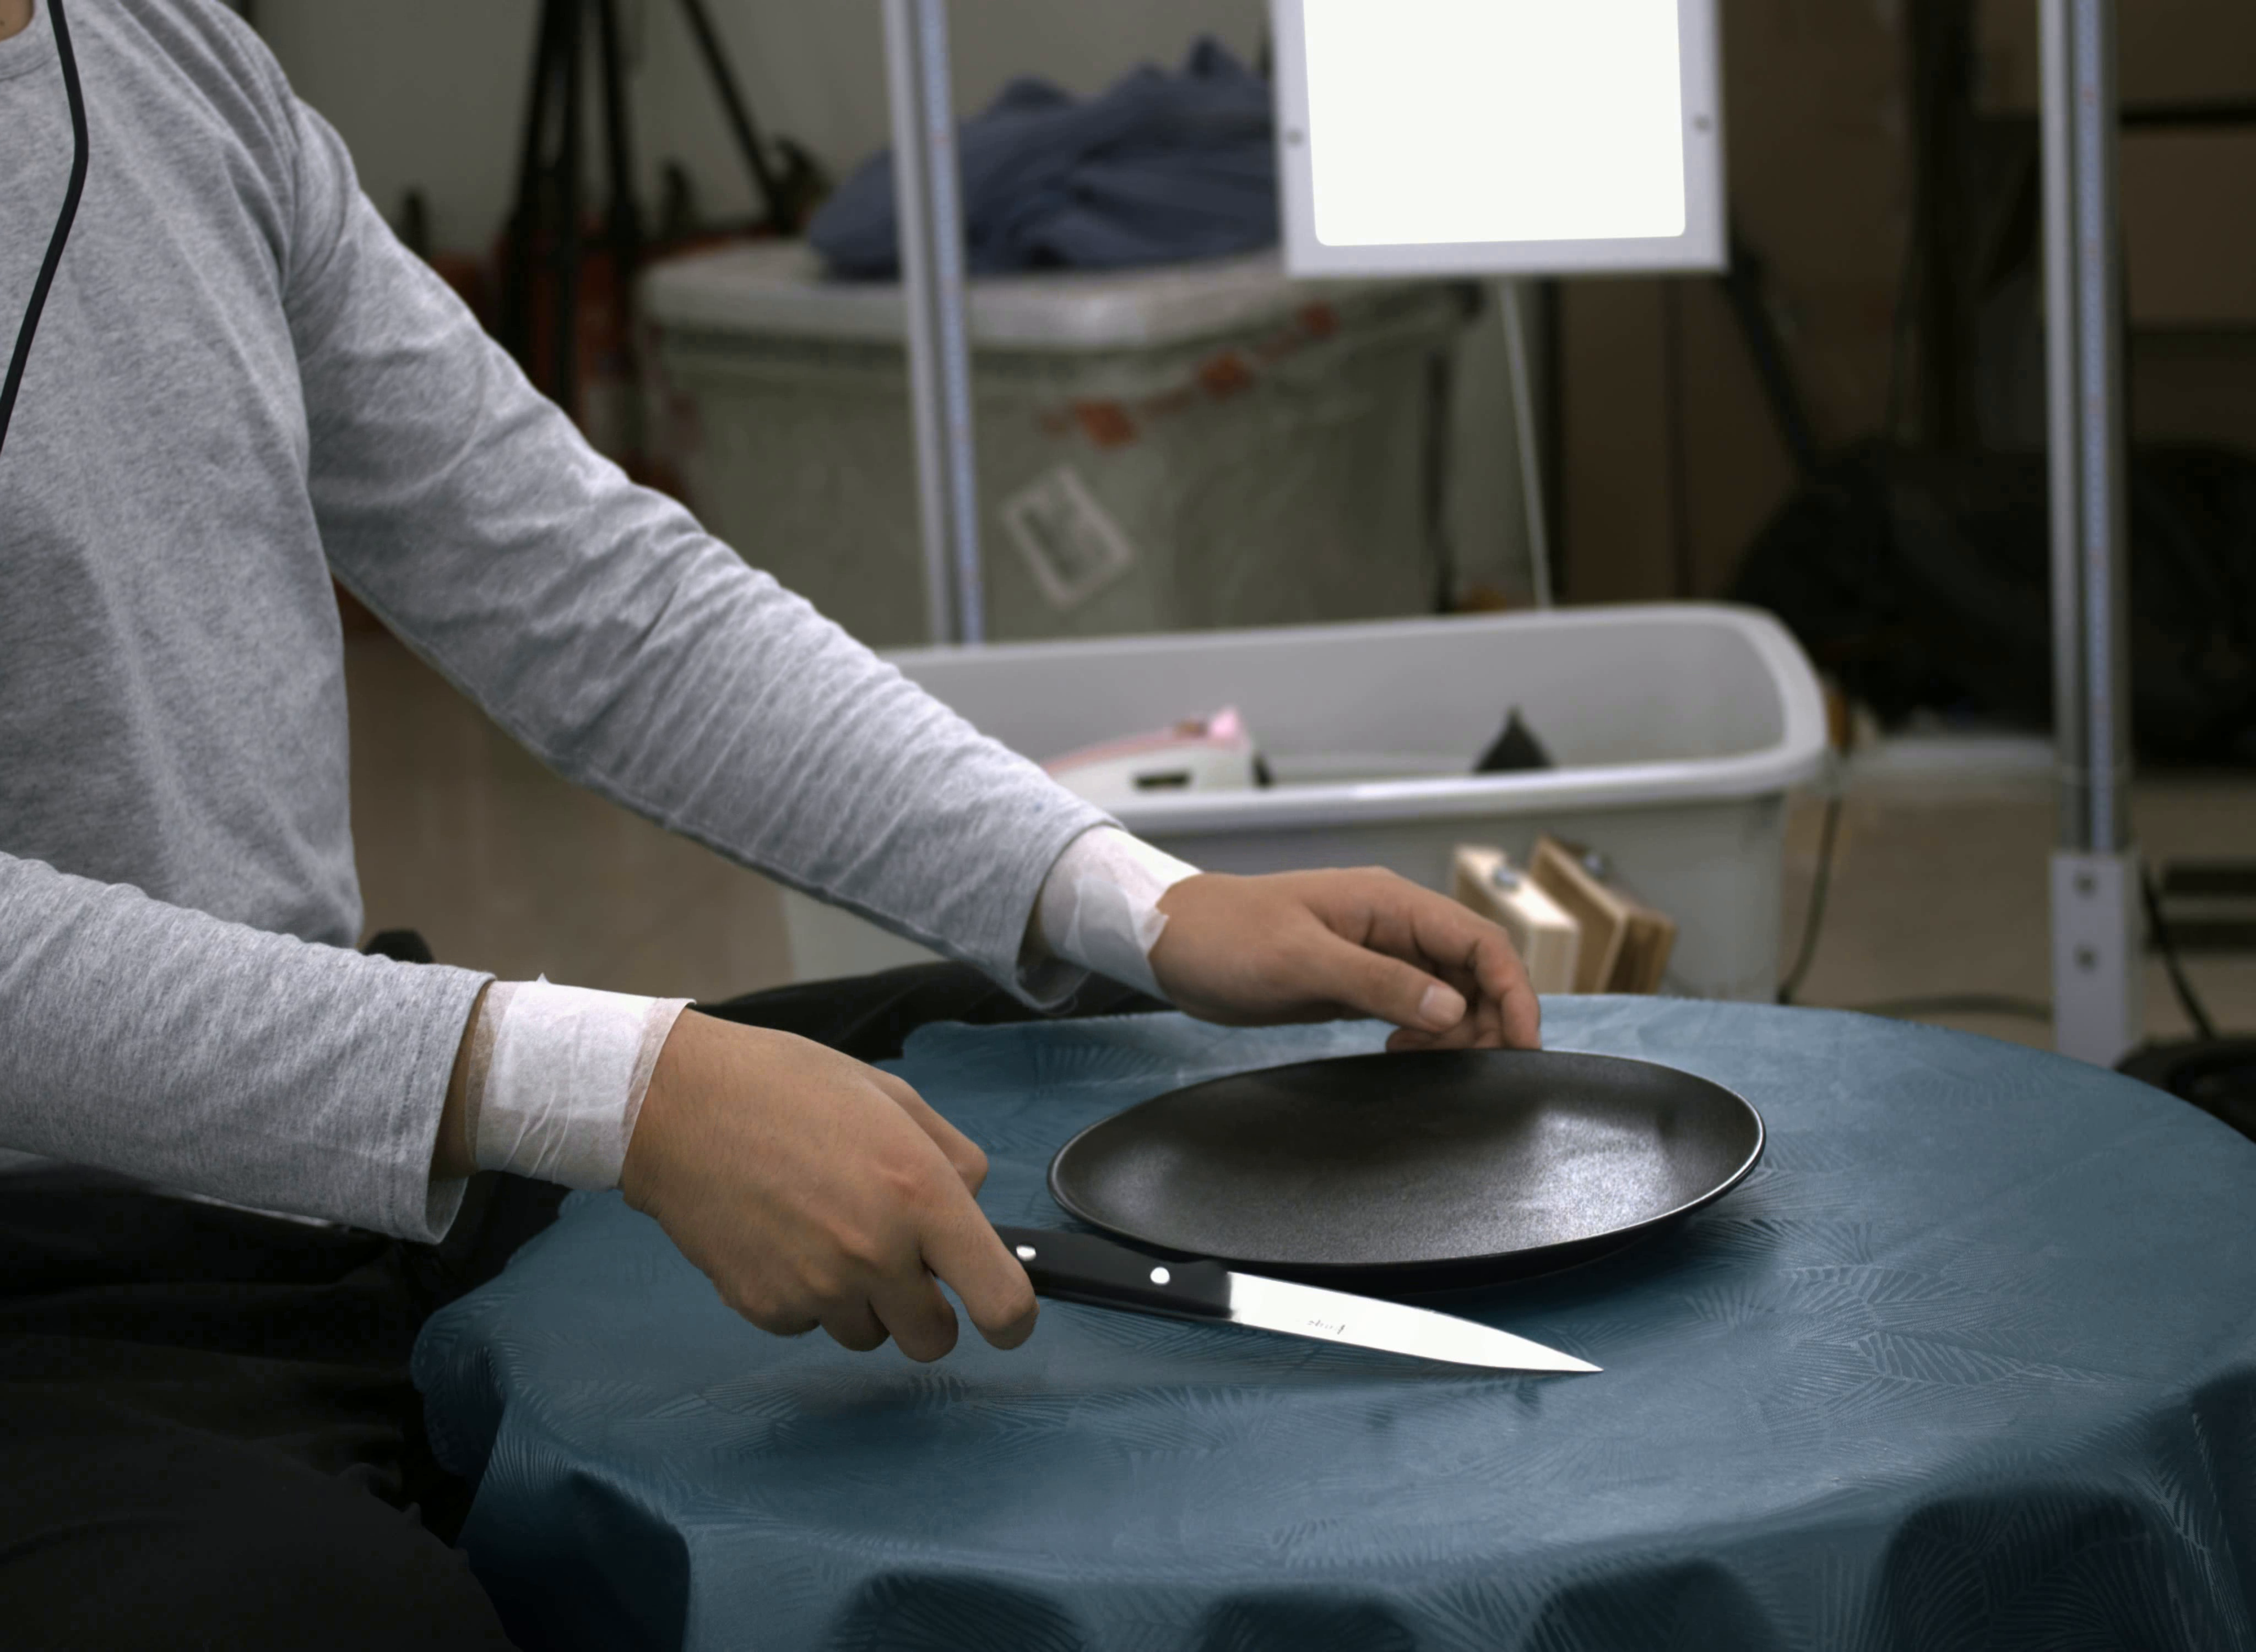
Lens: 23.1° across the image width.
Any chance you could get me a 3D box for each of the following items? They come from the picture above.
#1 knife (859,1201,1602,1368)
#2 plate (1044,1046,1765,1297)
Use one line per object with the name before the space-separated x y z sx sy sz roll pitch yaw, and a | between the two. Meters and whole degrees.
knife | 0.030 0.146 1.708 0.239 0.016 0.024 10 39 11
plate | 0.094 0.119 1.853 0.244 0.023 0.244 -5 14 0
